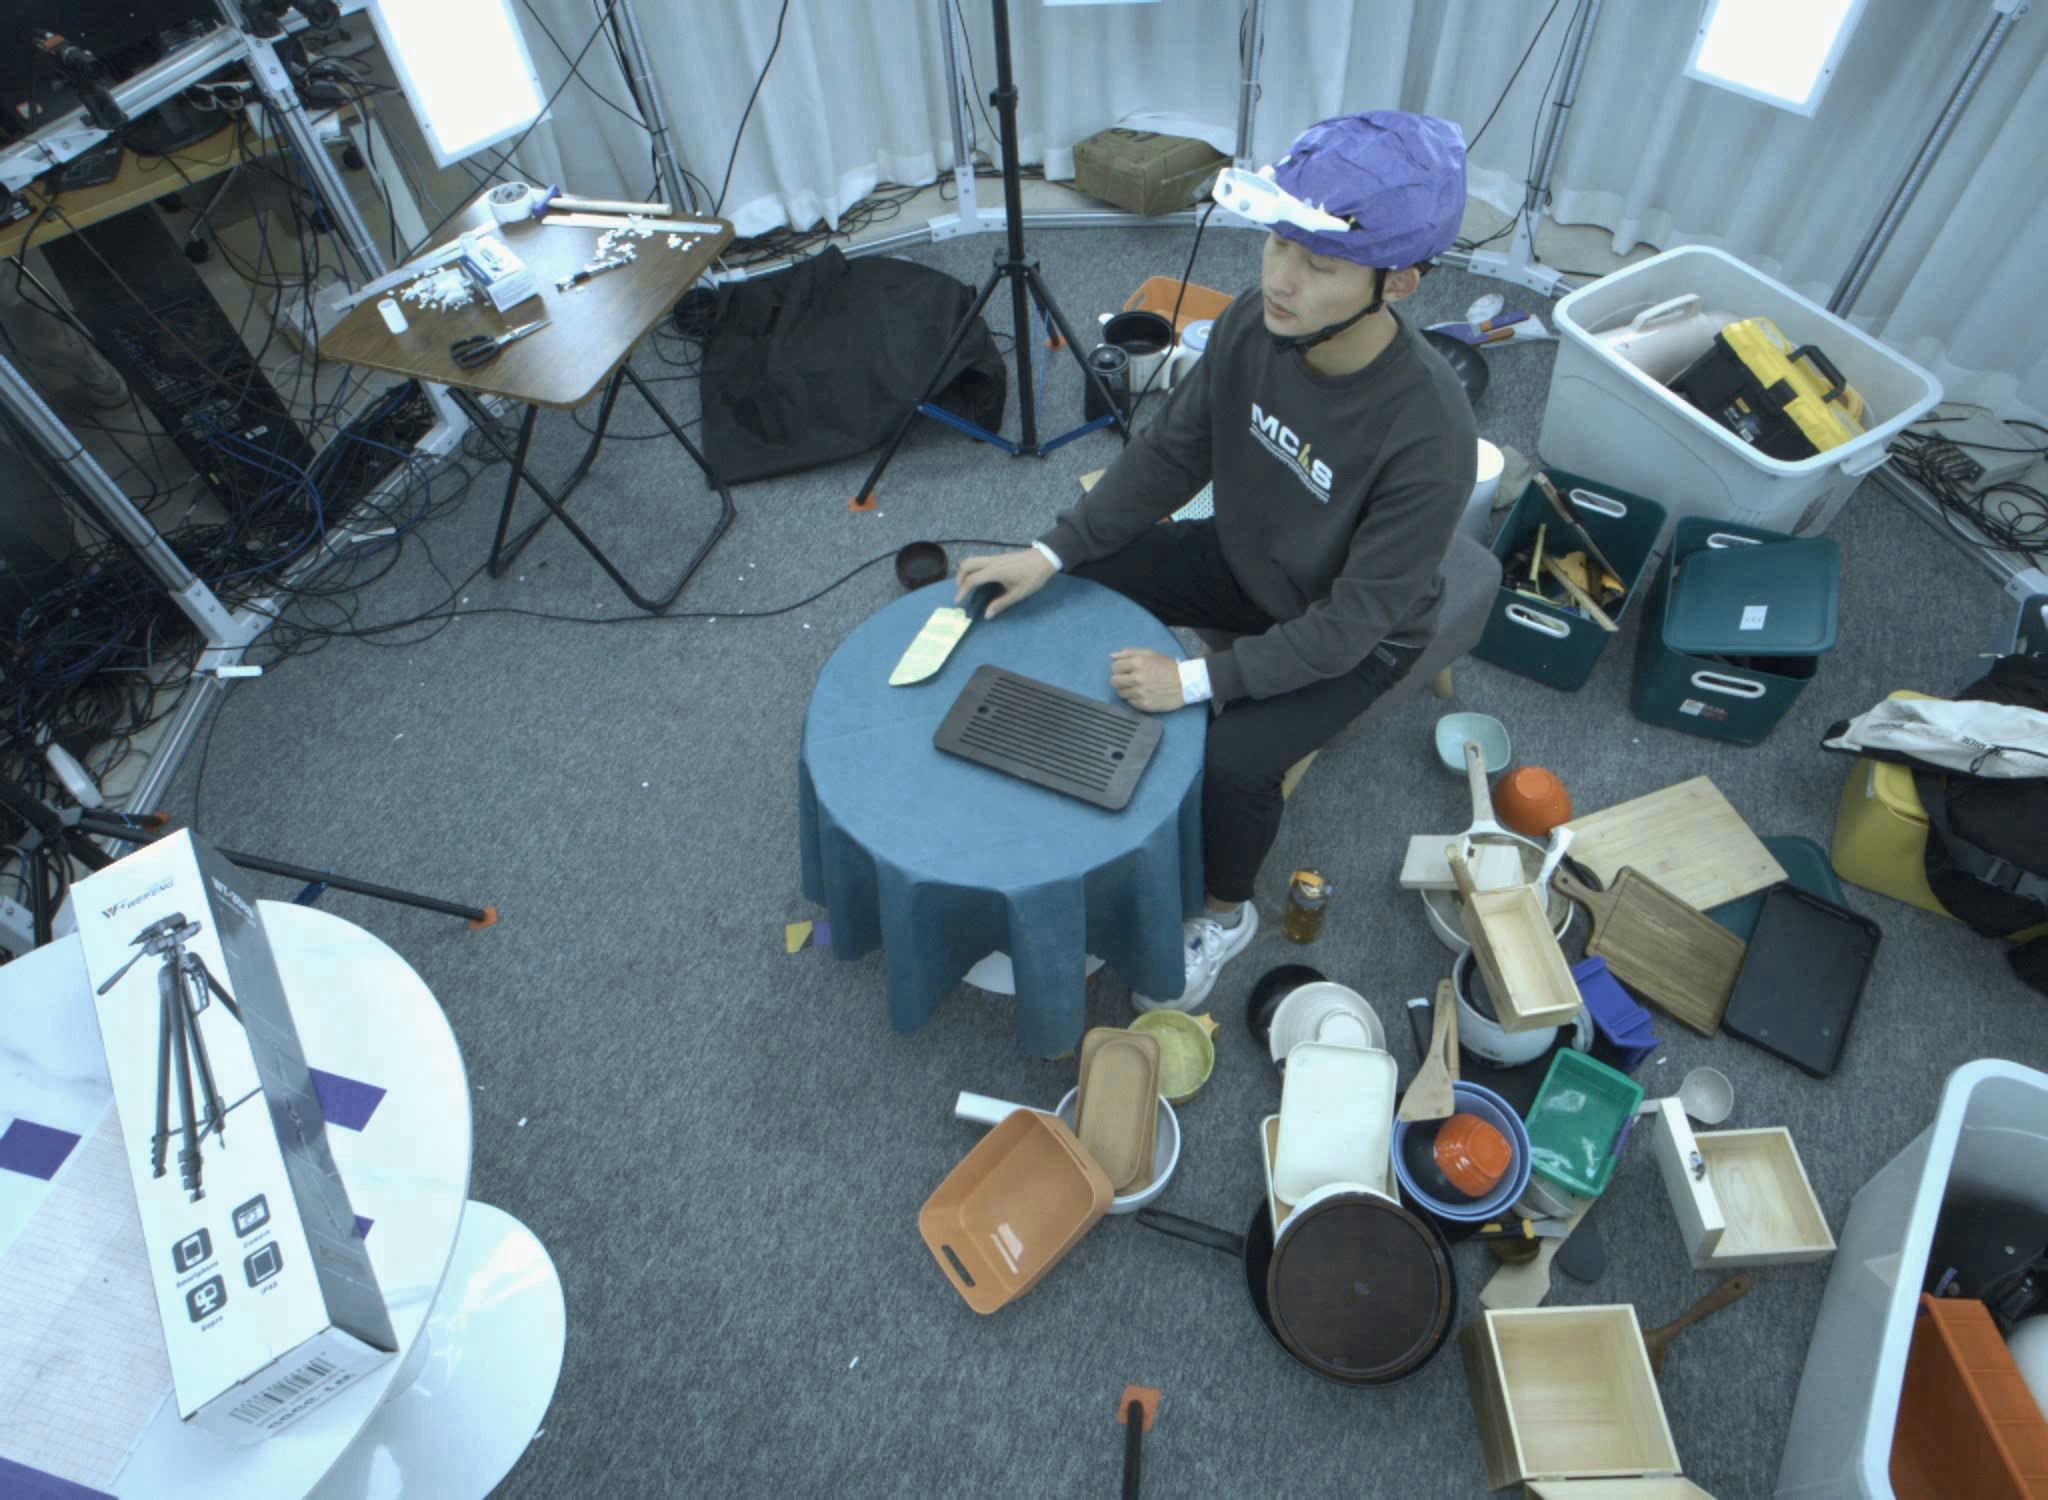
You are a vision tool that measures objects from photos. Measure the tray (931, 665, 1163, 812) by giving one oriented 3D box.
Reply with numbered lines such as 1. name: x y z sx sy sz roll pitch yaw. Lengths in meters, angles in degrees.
1. tray: 0.033 -0.019 1.796 0.302 0.019 0.170 20 57 15

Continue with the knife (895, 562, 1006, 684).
1. knife: -0.116 -0.202 1.934 0.079 0.027 0.290 19 55 25
